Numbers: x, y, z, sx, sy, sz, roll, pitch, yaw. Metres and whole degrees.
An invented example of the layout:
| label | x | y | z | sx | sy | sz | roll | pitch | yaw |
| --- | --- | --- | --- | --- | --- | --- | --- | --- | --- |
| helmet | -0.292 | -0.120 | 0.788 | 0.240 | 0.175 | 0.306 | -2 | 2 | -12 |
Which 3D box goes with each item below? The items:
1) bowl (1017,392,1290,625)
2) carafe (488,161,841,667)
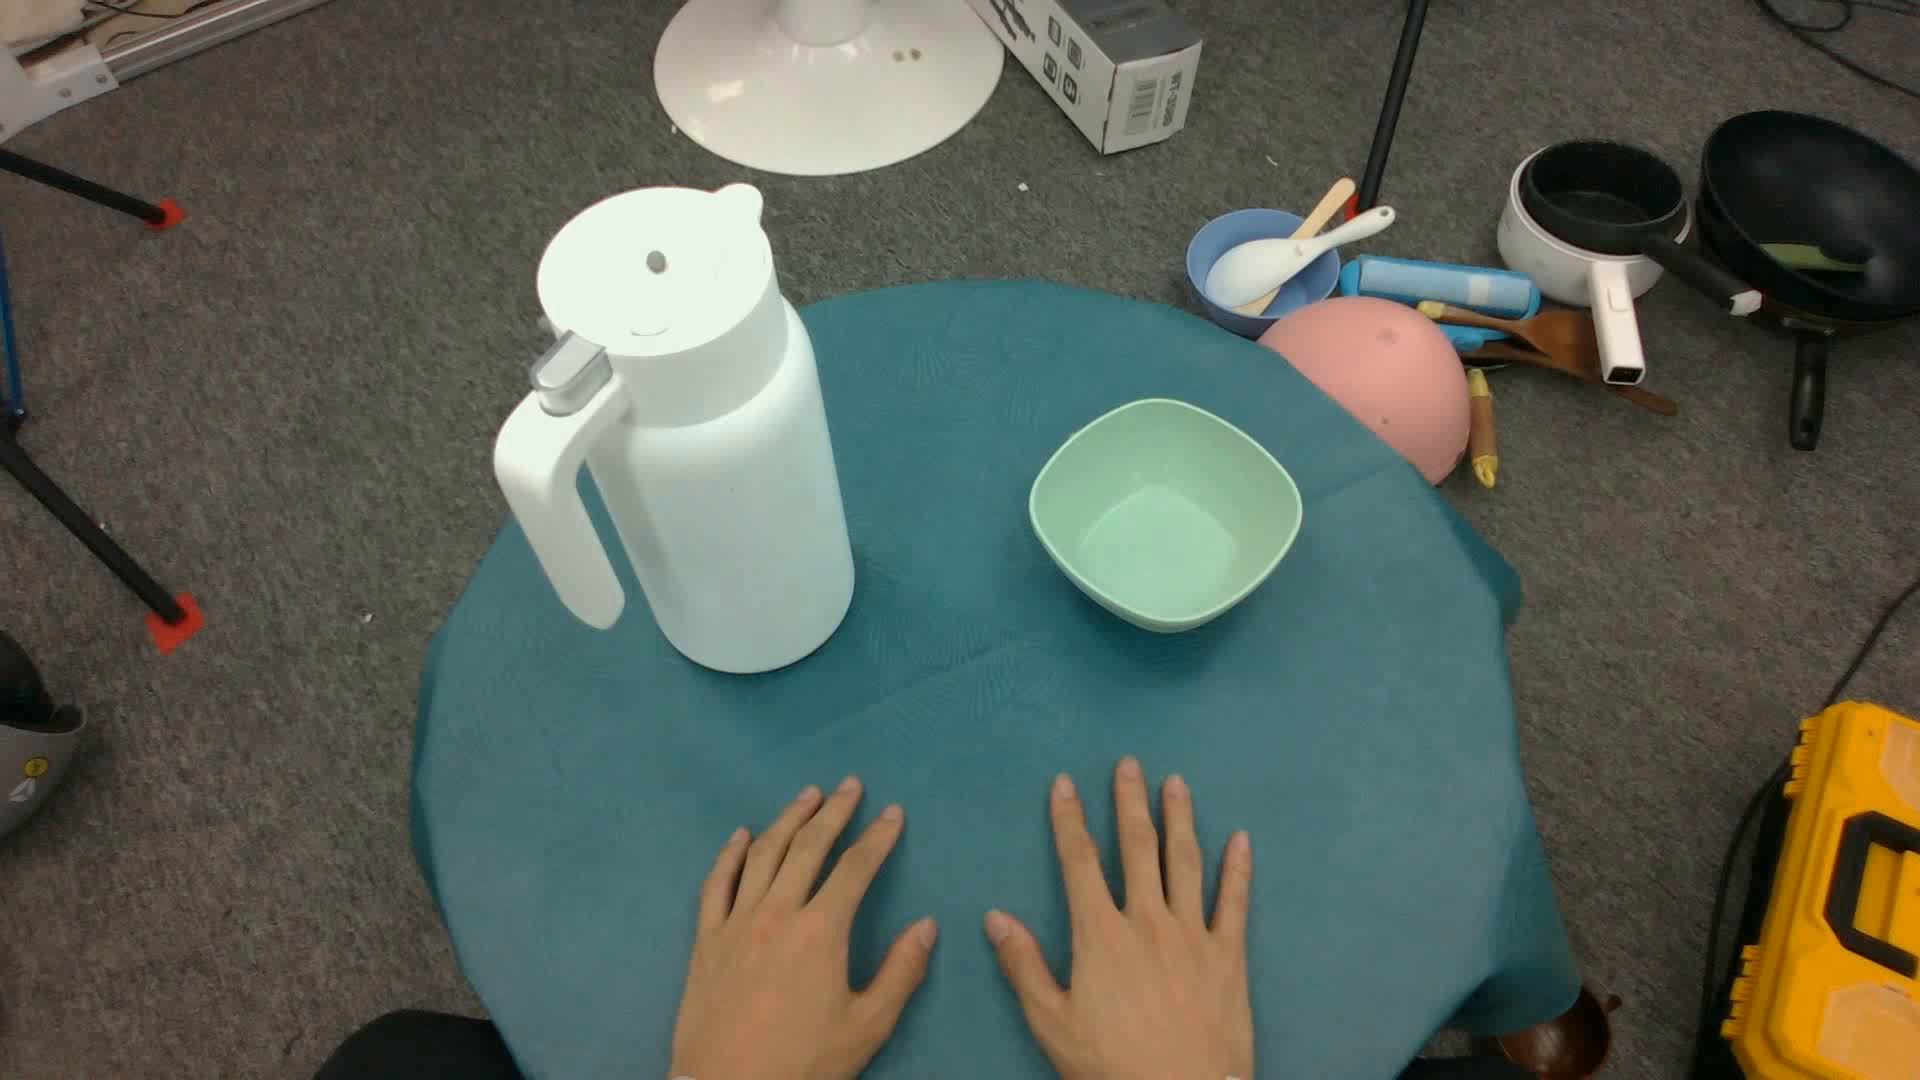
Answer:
| label | x | y | z | sx | sy | sz | roll | pitch | yaw |
| --- | --- | --- | --- | --- | --- | --- | --- | --- | --- |
| bowl | 0.108 | -0.009 | 0.786 | 0.151 | 0.058 | 0.152 | -1 | 56 | 1 |
| carafe | -0.137 | -0.034 | 0.682 | 0.124 | 0.267 | 0.173 | 24 | 61 | 14 |
